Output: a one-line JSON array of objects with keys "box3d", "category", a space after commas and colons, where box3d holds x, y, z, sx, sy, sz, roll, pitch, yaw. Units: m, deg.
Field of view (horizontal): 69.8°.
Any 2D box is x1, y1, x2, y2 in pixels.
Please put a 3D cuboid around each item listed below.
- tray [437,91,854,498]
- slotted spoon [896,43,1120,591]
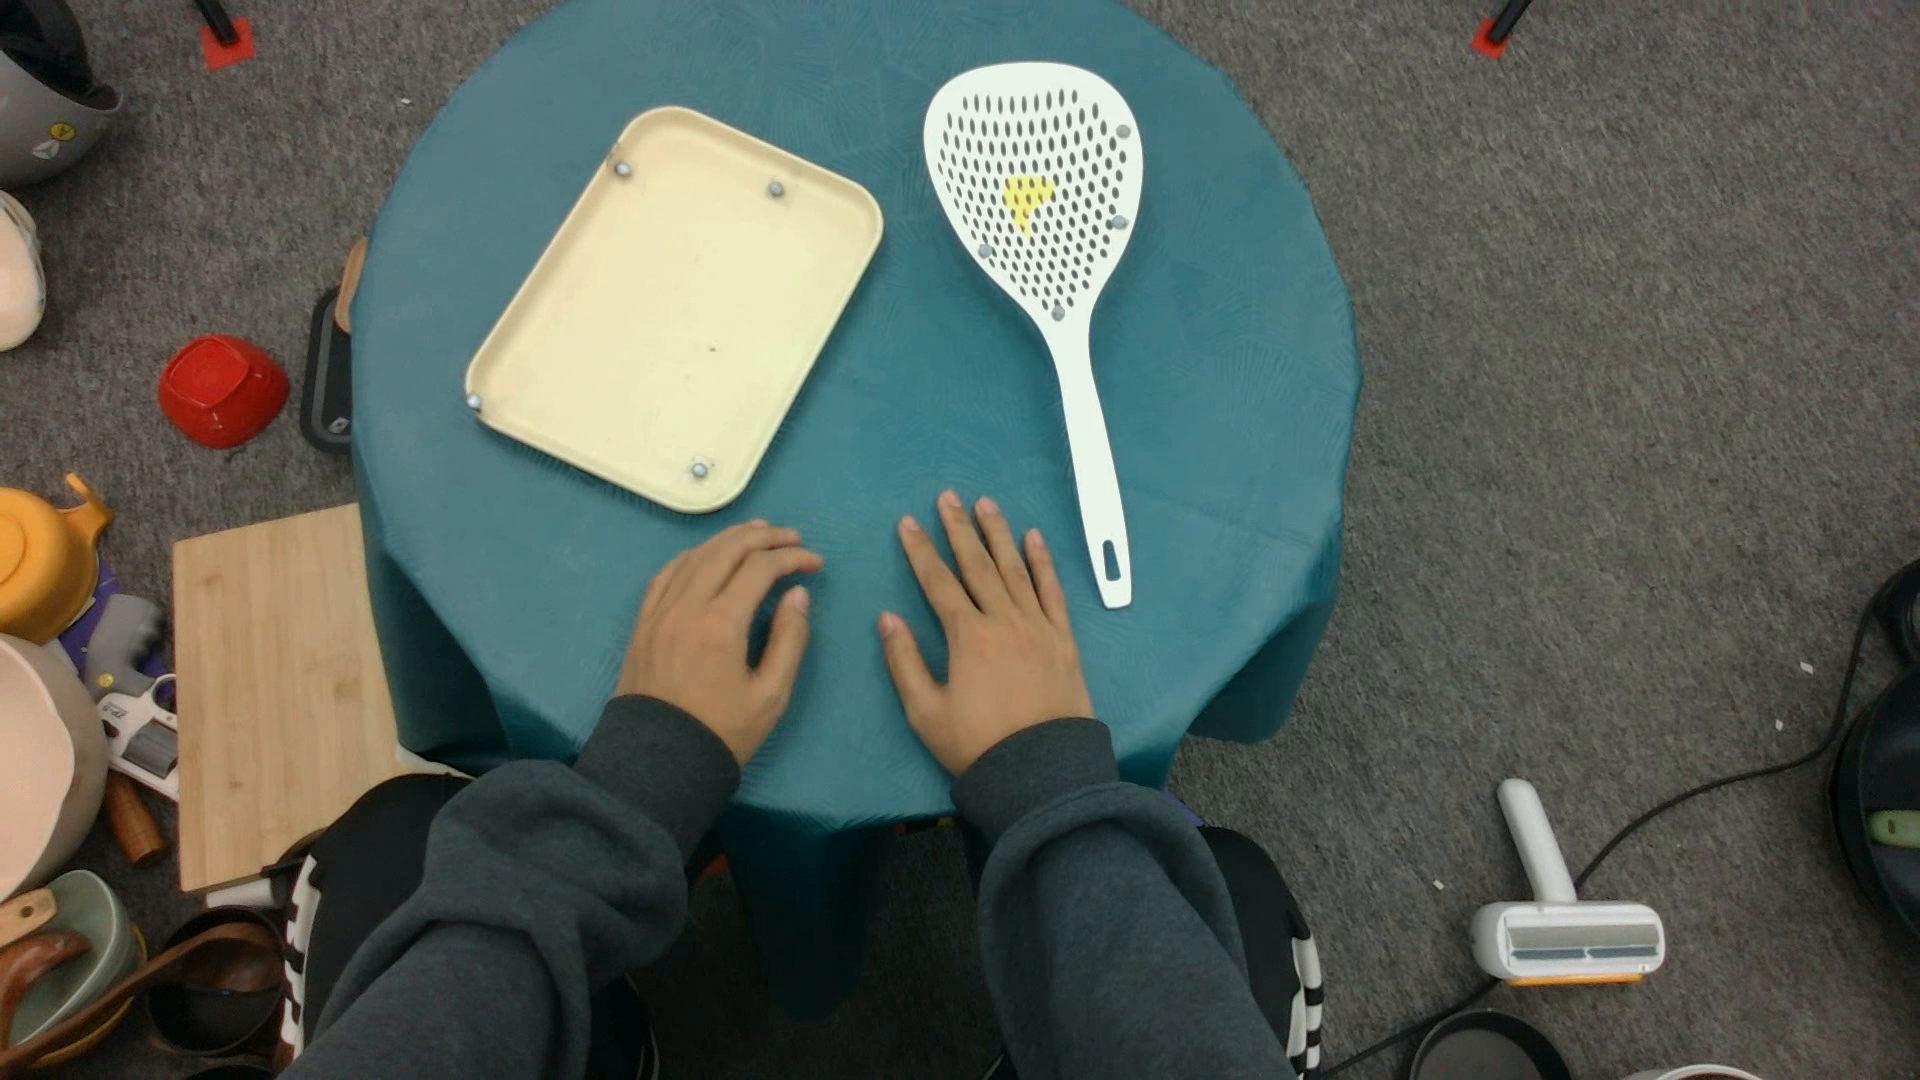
[{"box3d": [-0.178, -0.147, 0.806, 0.171, 0.017, 0.240, 24, 69, 1], "category": "tray"}, {"box3d": [0.048, -0.140, 0.820, 0.137, 0.050, 0.349, -7, 71, -12], "category": "slotted spoon"}]
